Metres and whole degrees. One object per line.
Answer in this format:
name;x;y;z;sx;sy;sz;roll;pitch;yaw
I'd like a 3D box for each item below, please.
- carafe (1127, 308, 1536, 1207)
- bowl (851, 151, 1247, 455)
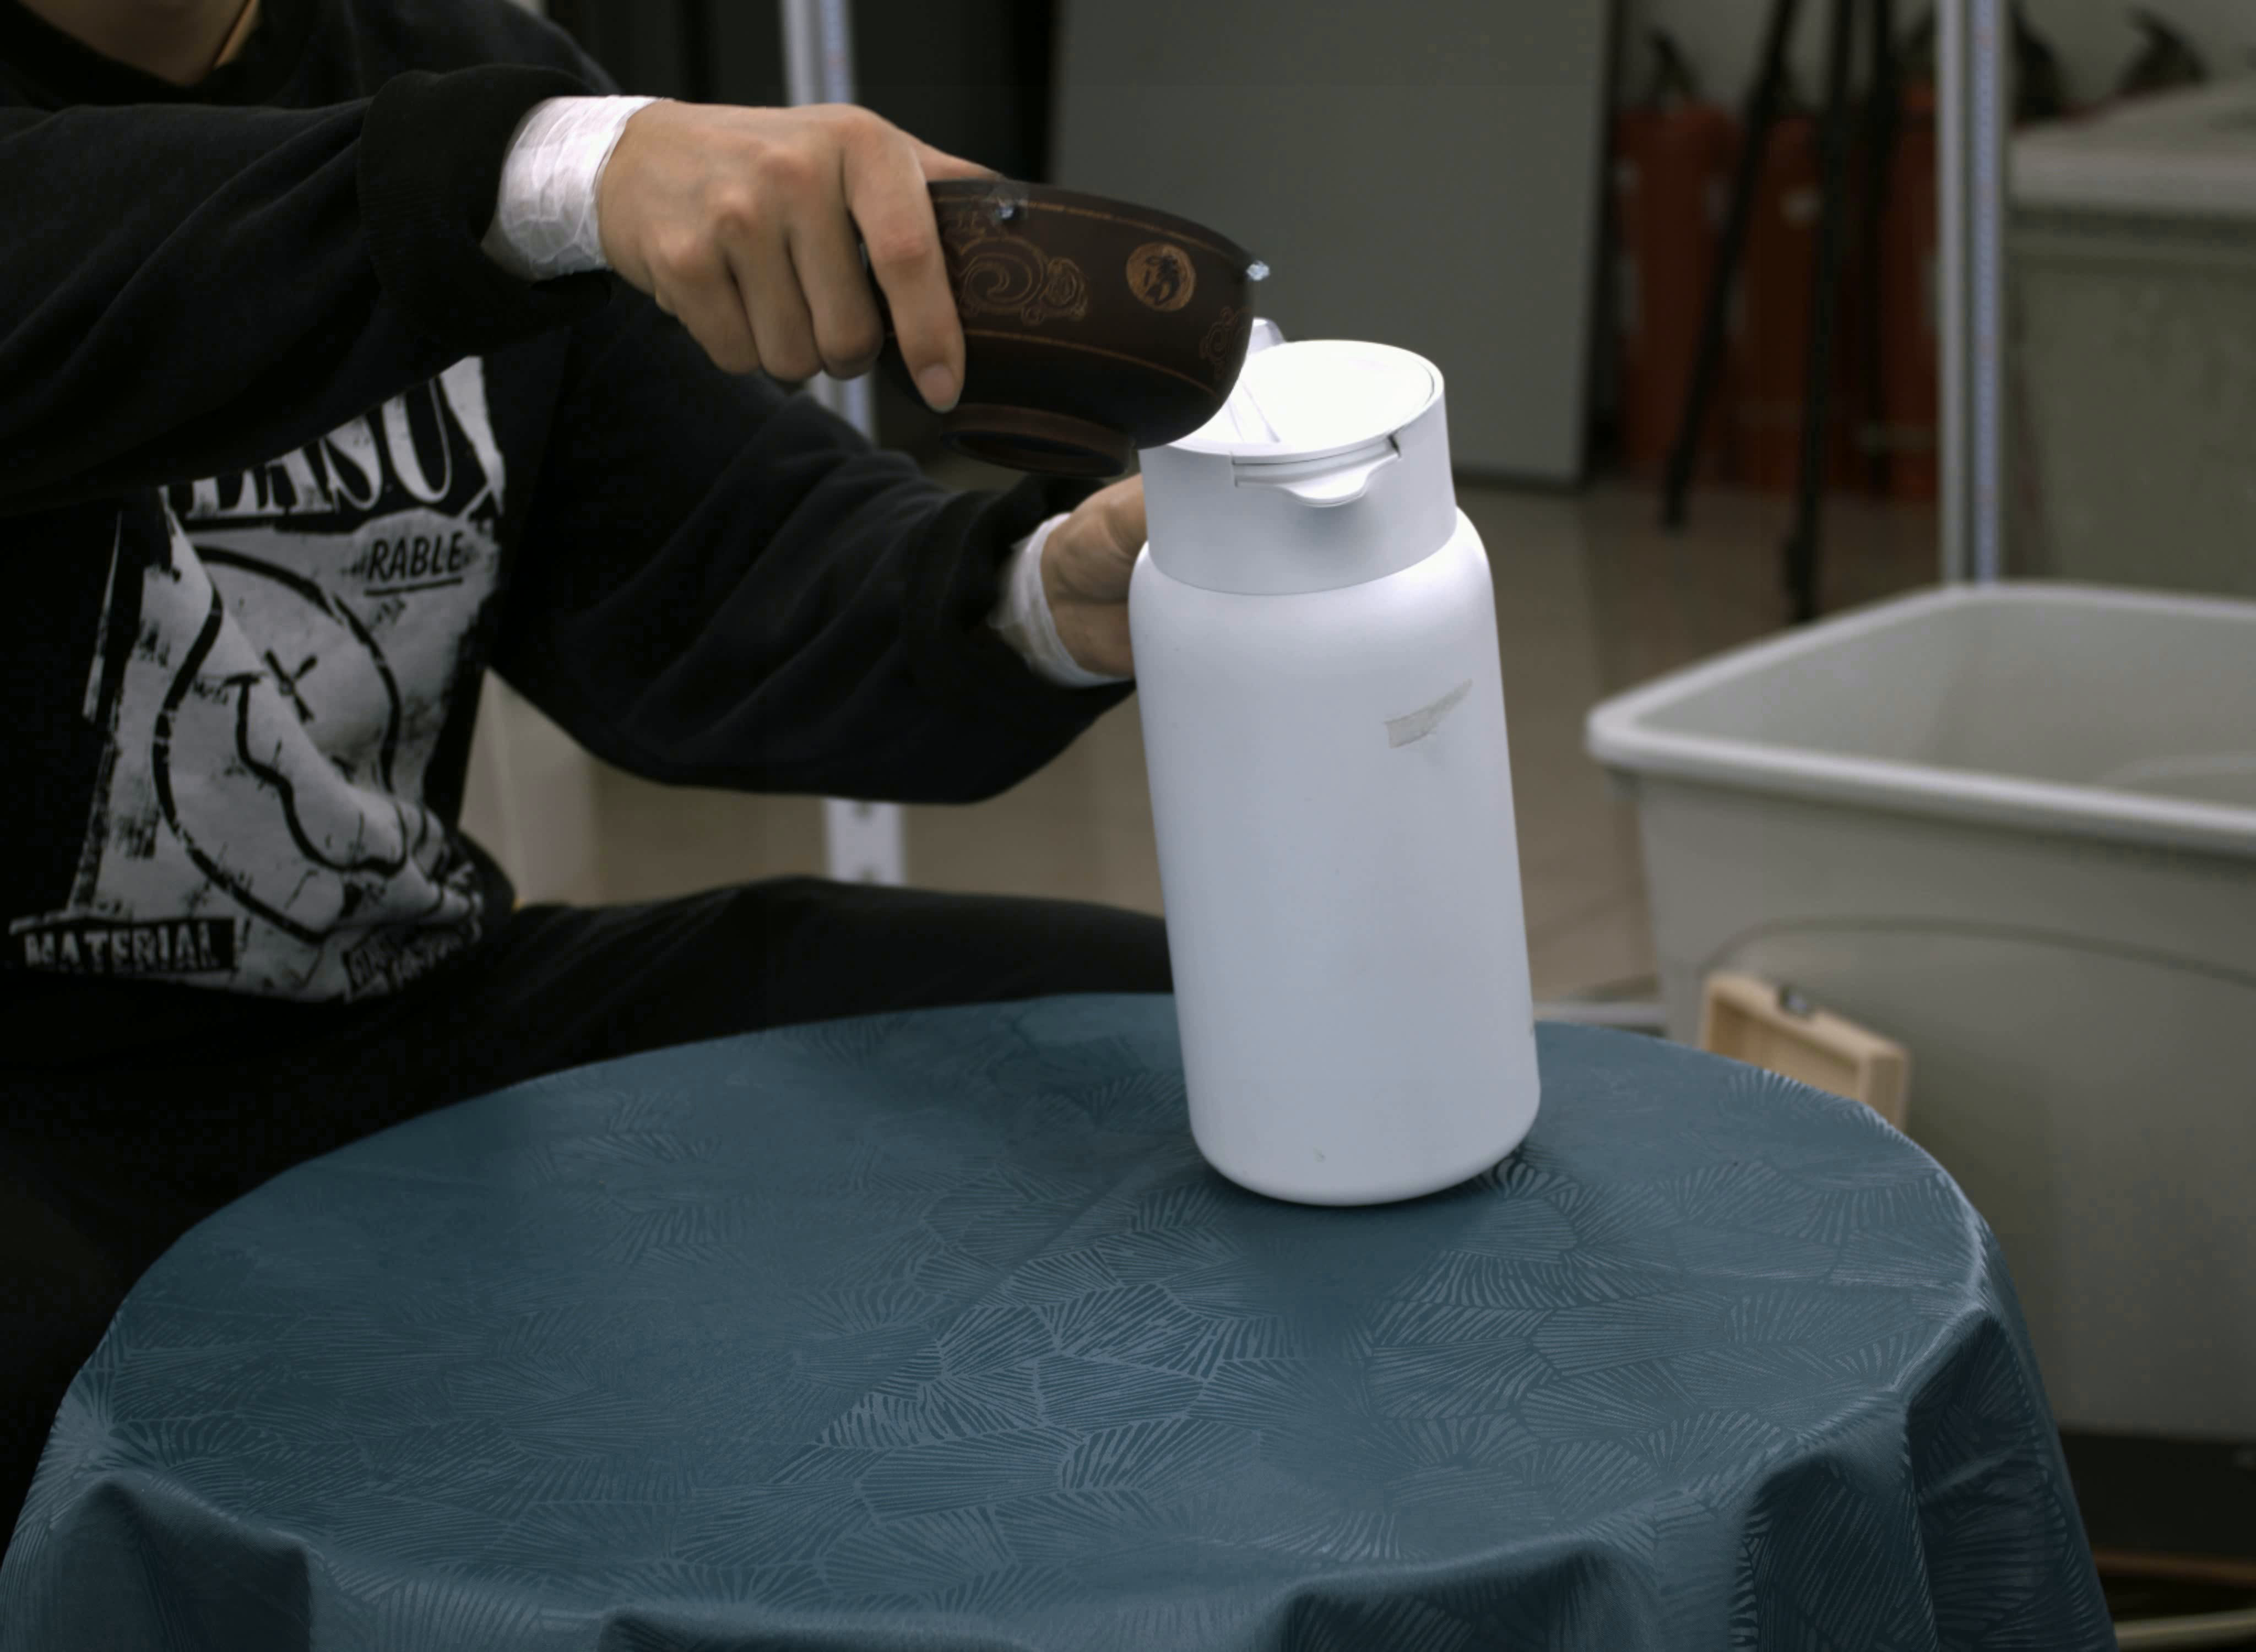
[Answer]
carafe;0.059;-0.026;1.749;0.122;0.271;0.174;-13;25;-7
bowl;-0.025;-0.149;1.590;0.116;0.071;0.118;8;-7;0
